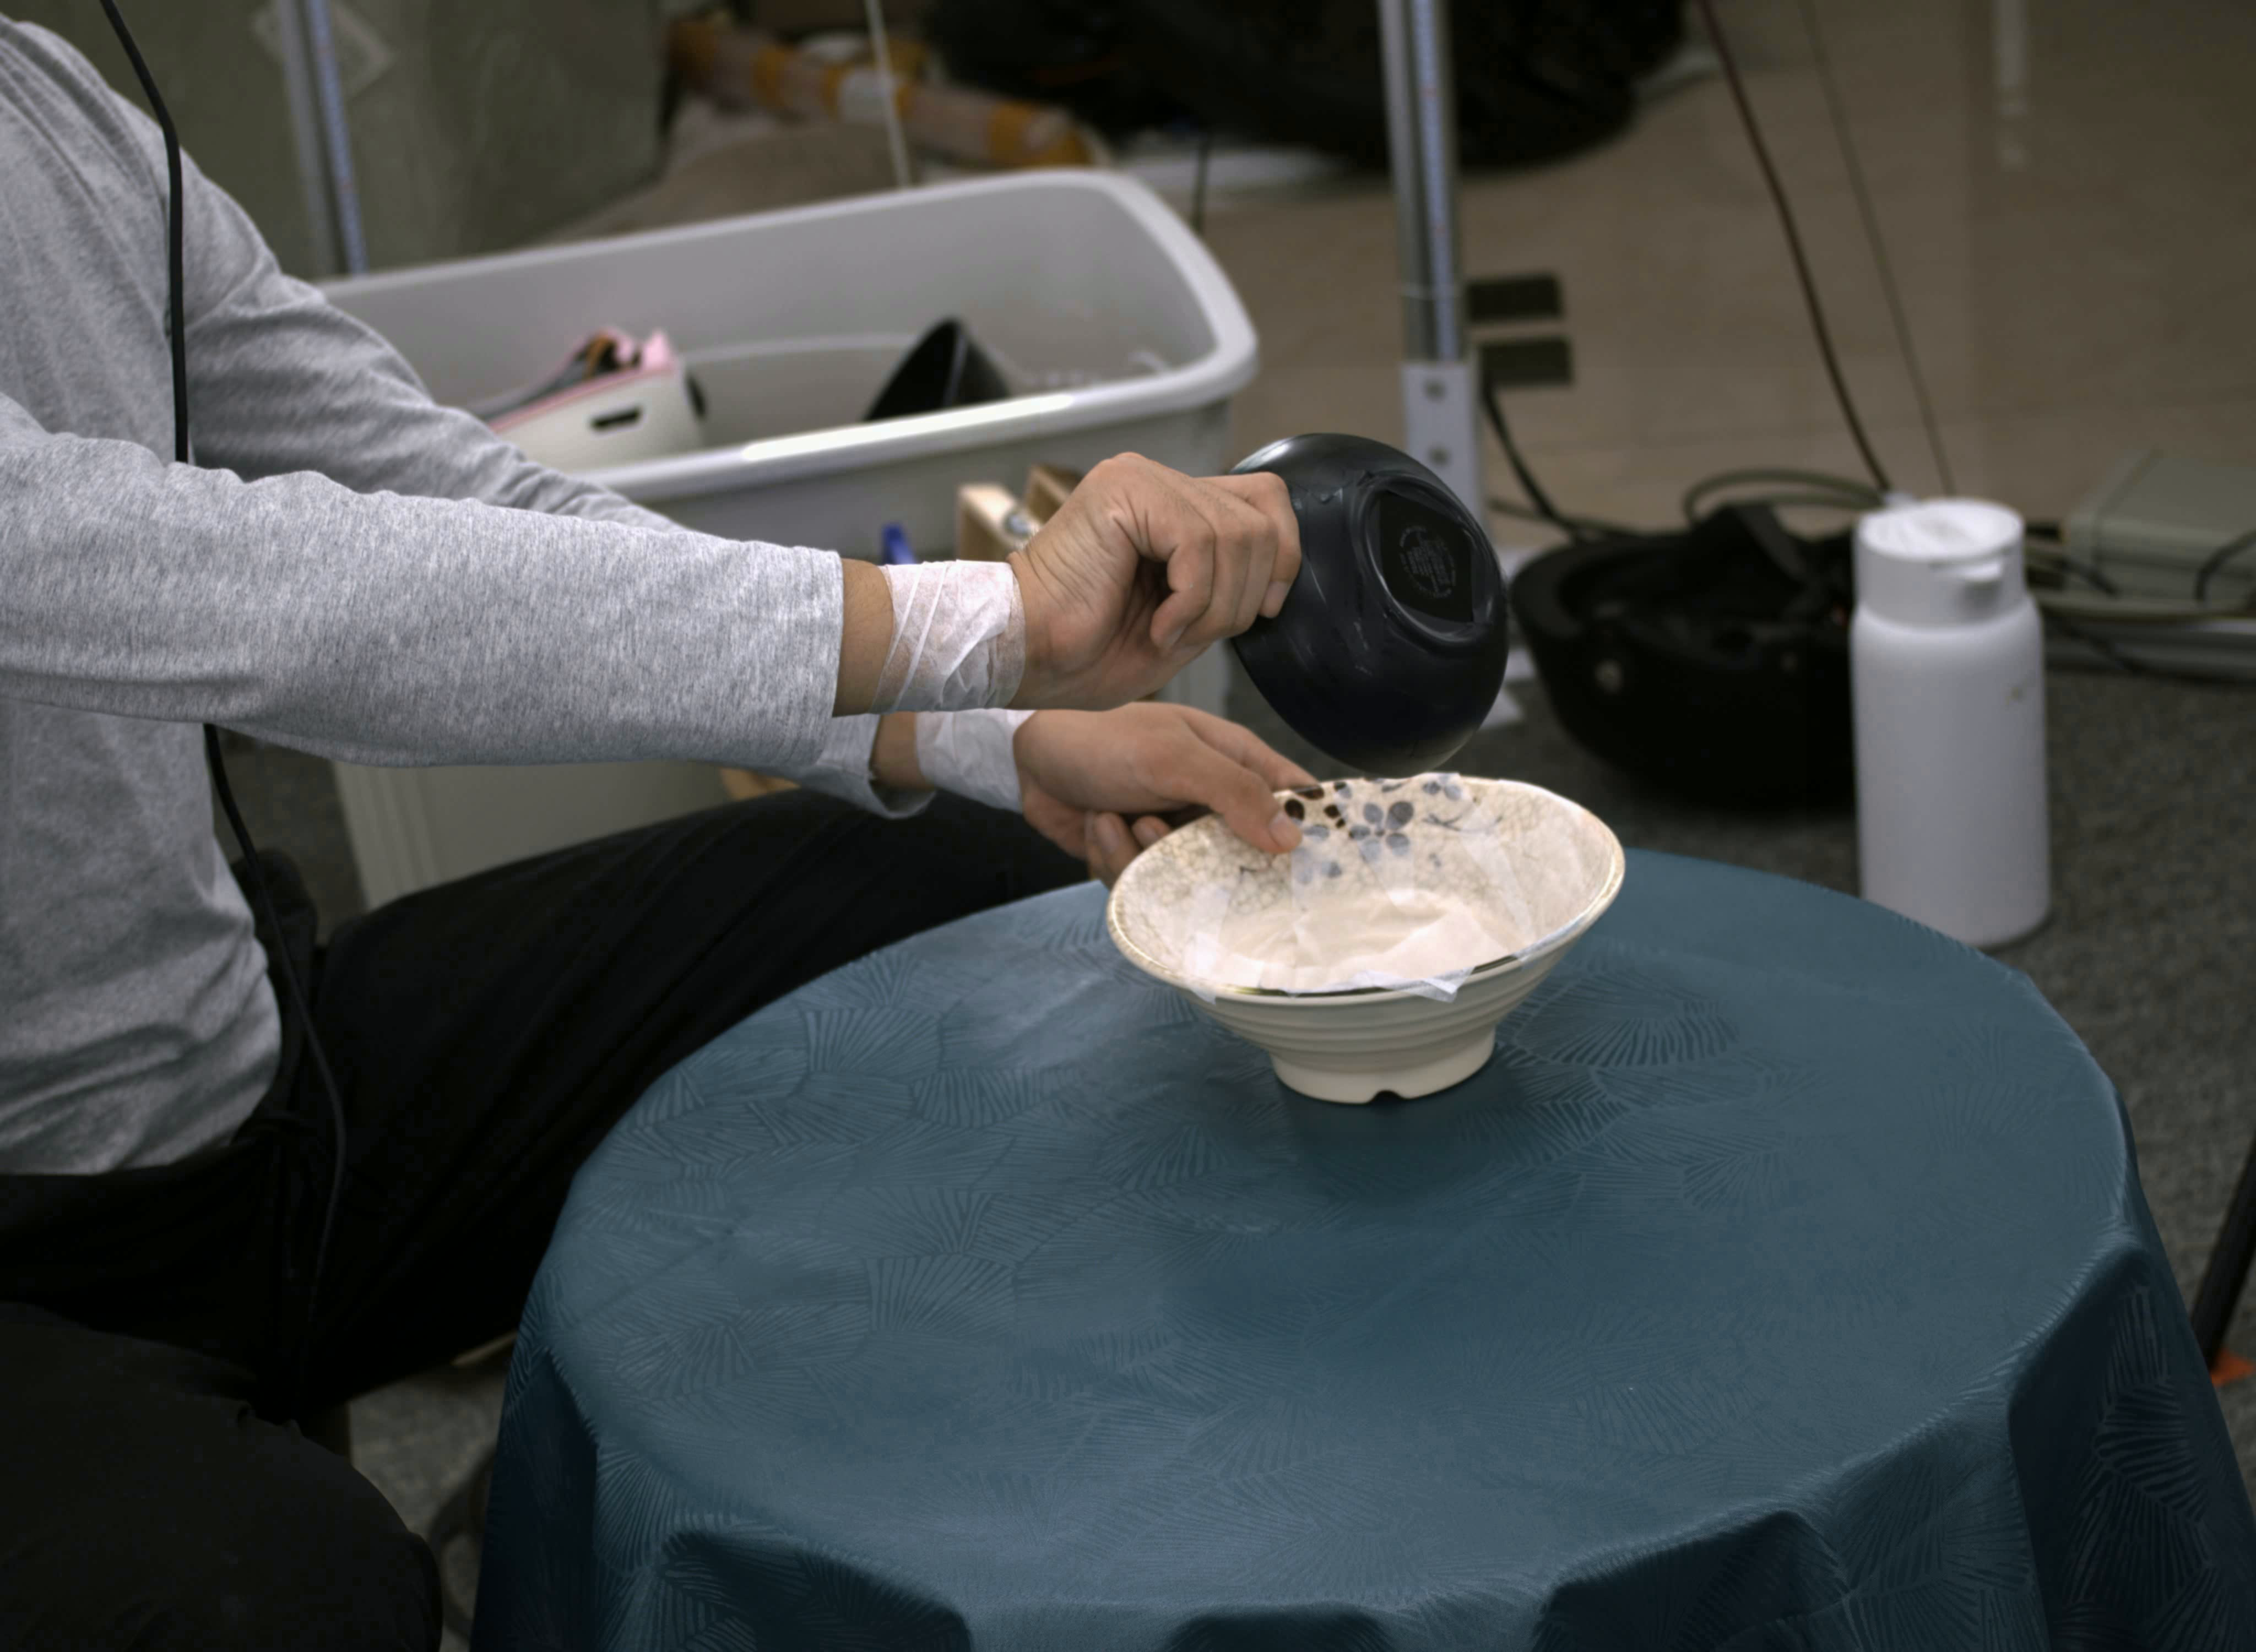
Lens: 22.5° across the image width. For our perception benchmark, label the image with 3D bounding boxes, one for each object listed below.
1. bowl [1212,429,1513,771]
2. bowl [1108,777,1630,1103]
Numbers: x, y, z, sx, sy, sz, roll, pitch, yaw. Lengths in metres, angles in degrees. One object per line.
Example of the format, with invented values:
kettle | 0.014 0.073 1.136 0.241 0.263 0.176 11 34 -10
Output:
bowl | 0.098 -0.093 2.116 0.050 0.140 0.138 -32 7 38
bowl | 0.097 0.055 2.213 0.204 0.079 0.201 -6 23 3
